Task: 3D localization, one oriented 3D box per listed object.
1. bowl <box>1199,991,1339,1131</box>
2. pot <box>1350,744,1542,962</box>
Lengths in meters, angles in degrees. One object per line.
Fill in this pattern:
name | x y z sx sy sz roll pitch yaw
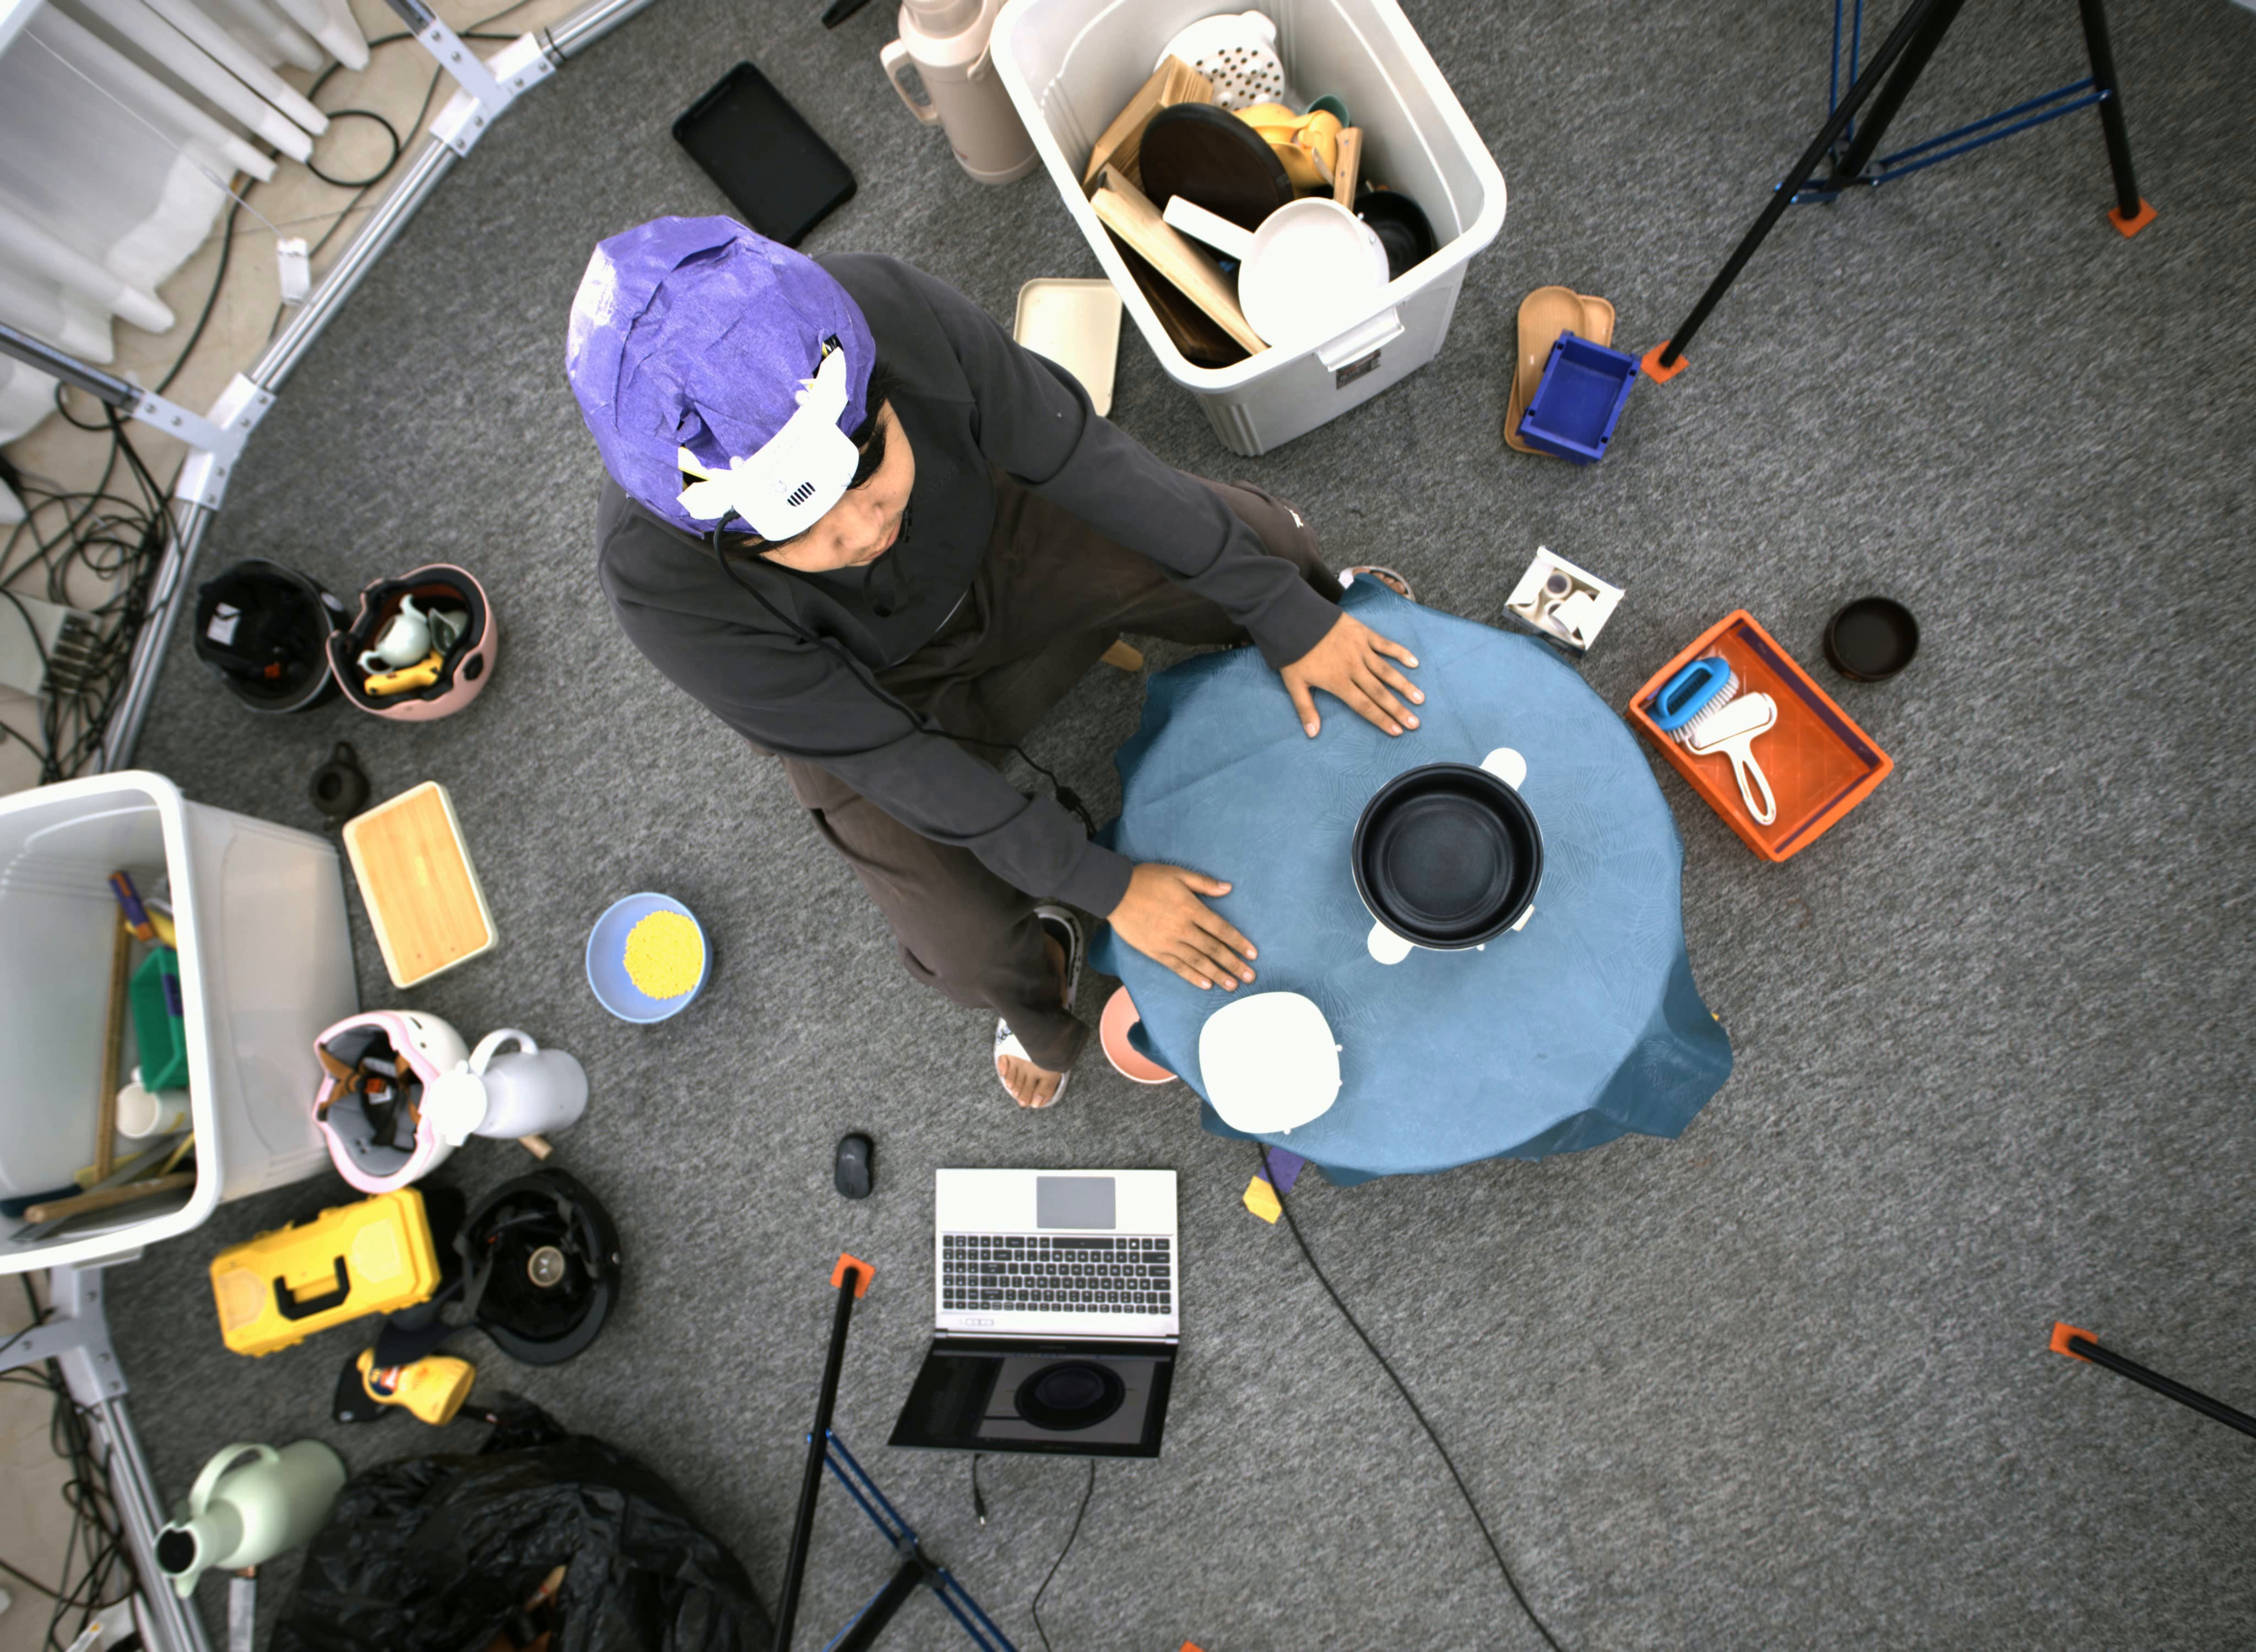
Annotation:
bowl | 0.148 0.243 1.446 0.152 0.059 0.150 -1 85 9
pot | 0.321 0.033 1.382 0.190 0.142 0.241 32 94 14
